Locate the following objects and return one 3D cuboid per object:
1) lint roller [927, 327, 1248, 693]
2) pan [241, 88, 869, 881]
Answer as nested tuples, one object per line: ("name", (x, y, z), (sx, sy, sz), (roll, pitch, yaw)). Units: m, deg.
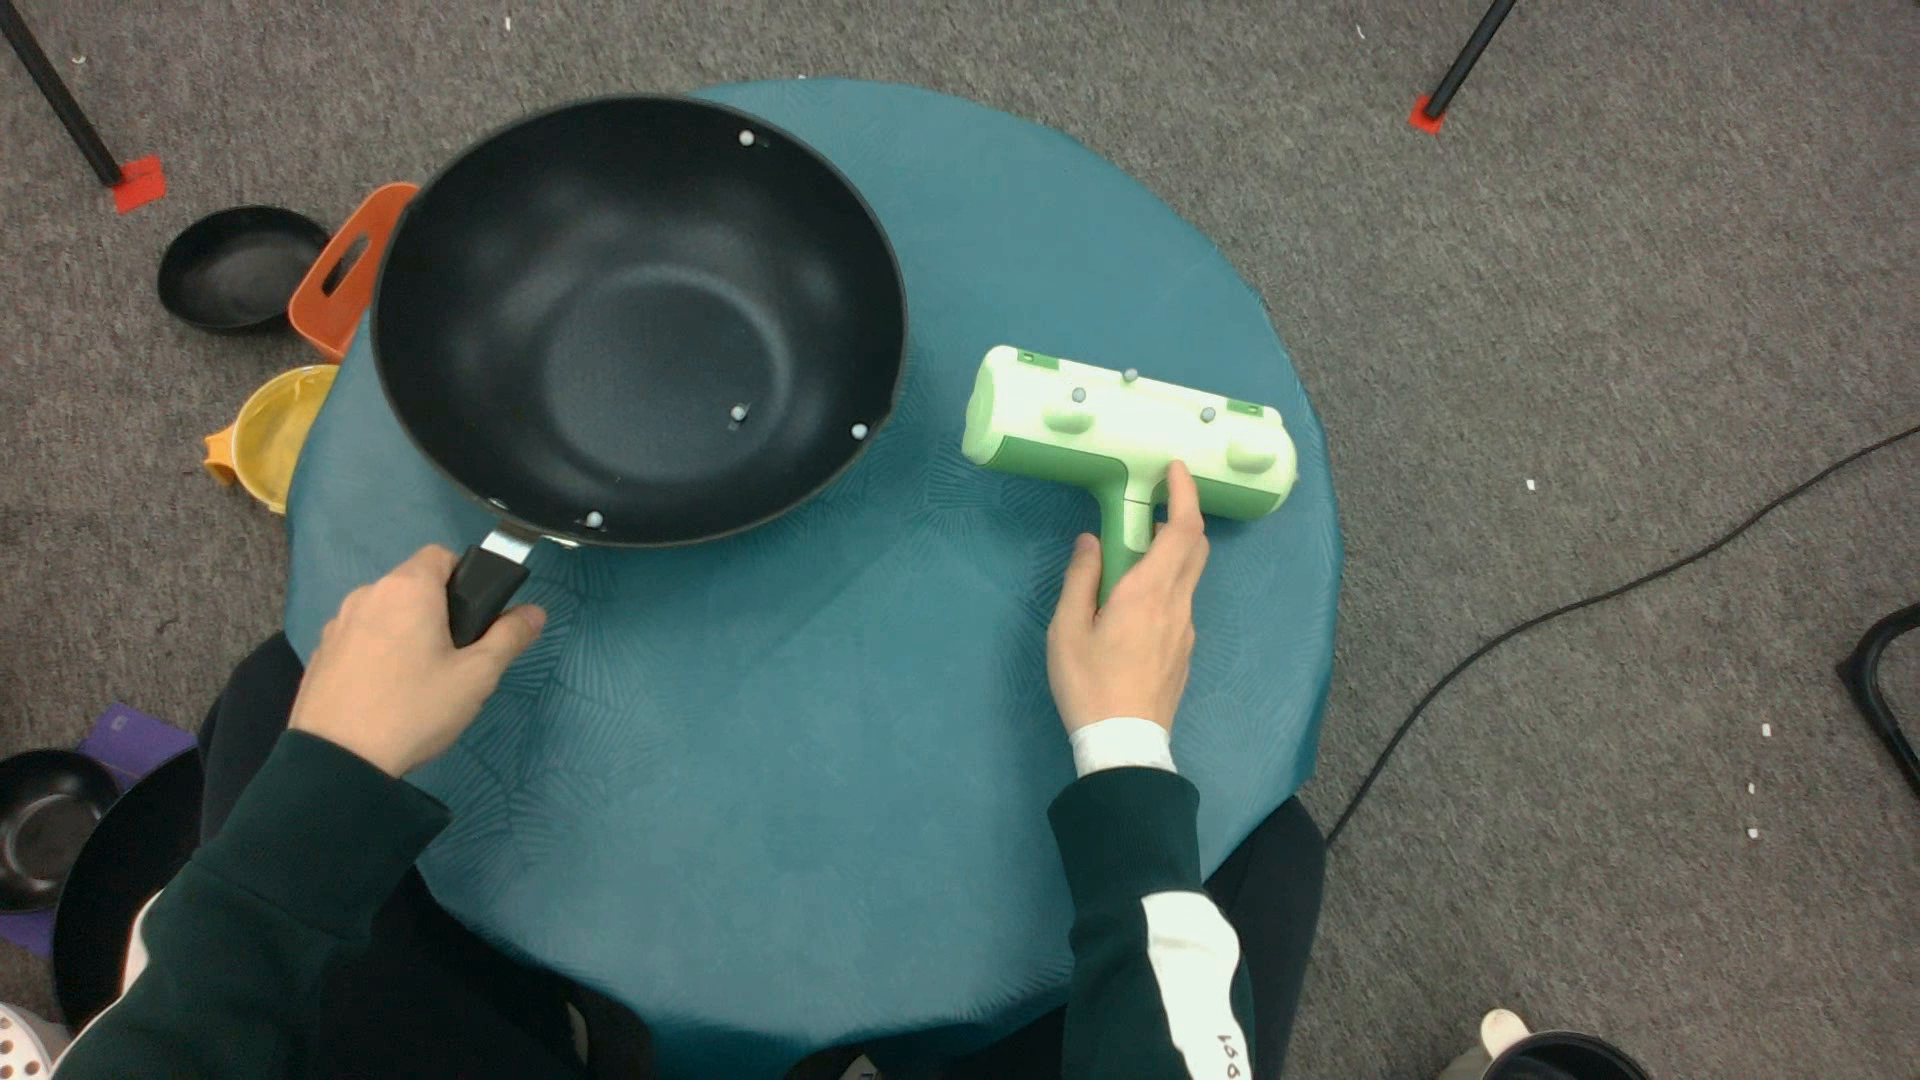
("lint roller", (0.080, -0.013, 0.748), (0.199, 0.082, 0.184), (10, 68, -31))
("pan", (-0.227, -0.035, 0.736), (0.288, 0.086, 0.465), (22, 68, 1))
